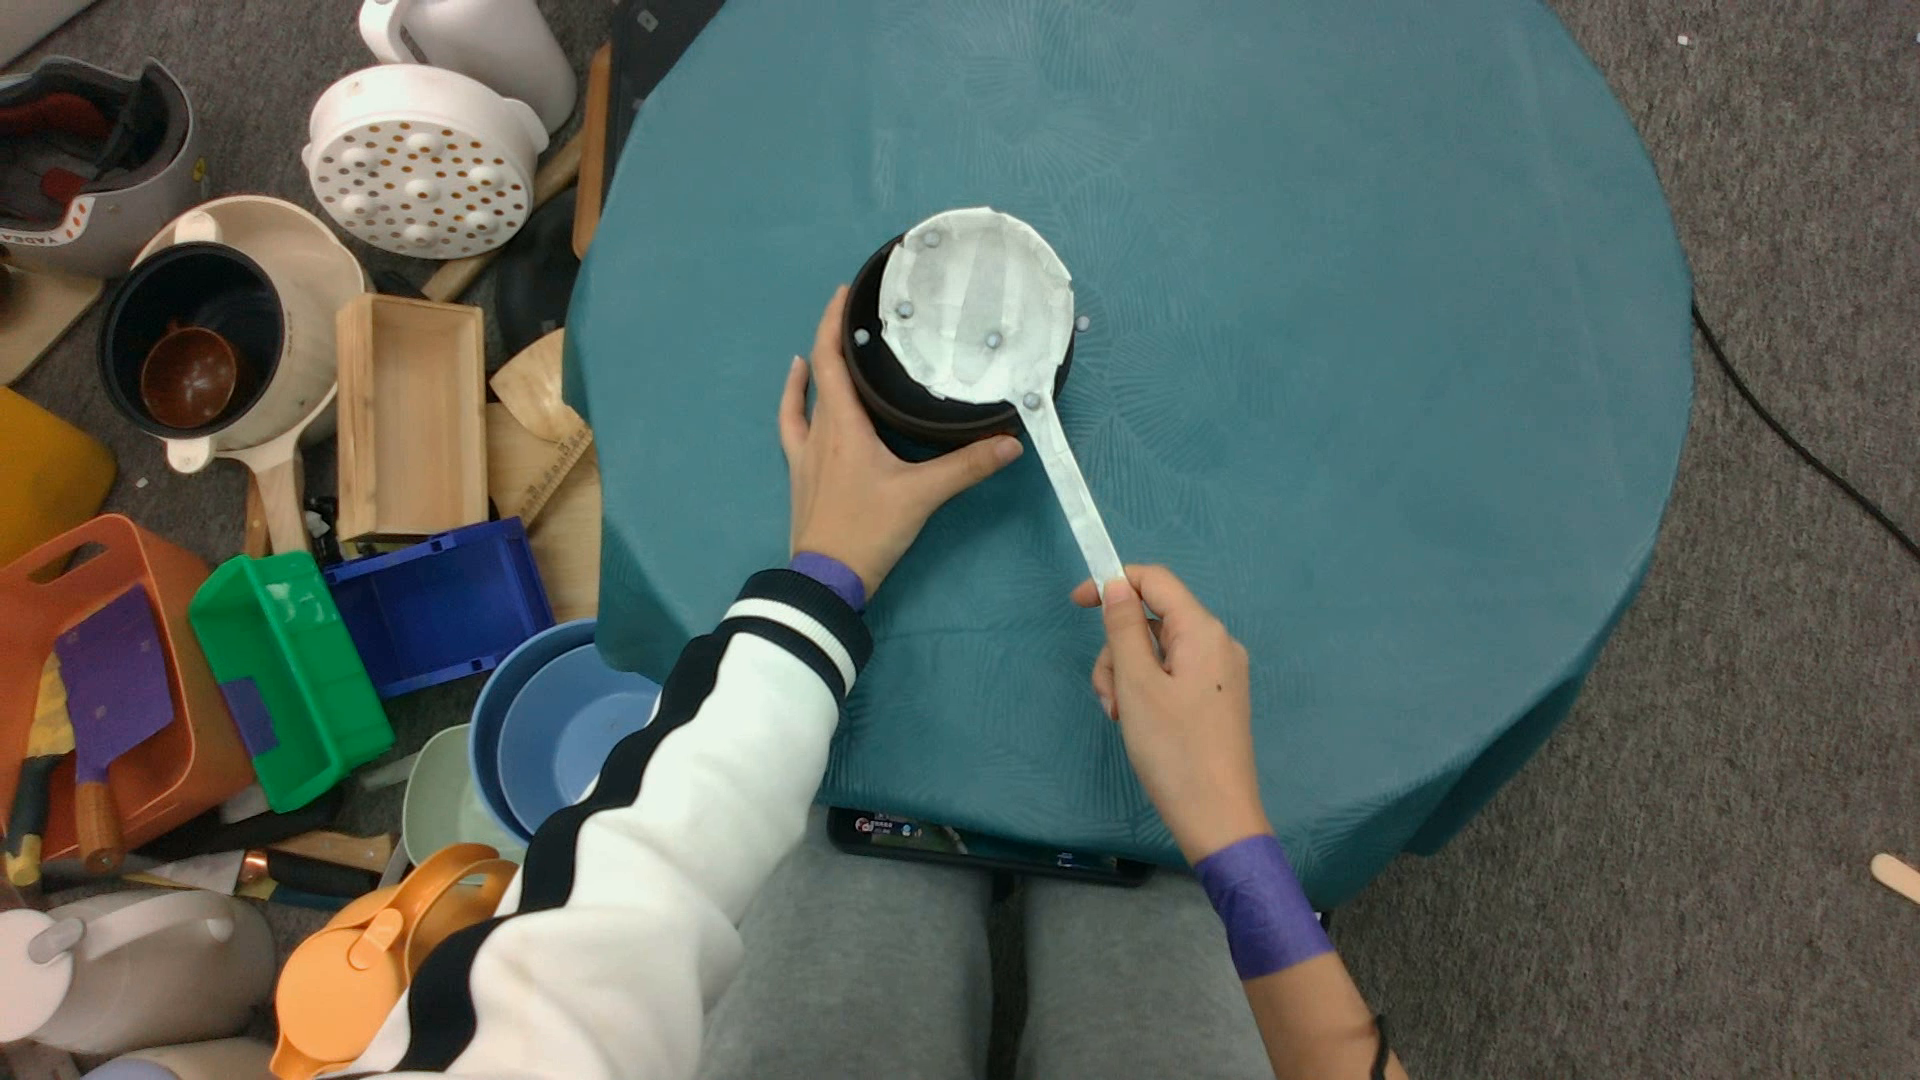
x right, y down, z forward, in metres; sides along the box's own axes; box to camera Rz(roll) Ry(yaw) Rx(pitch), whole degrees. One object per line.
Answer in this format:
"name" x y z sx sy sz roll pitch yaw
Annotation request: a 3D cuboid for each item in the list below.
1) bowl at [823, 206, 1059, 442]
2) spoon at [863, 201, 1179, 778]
"bowl" -0.009 -0.104 0.709 0.118 0.069 0.118 -1 74 2
"spoon" 0.030 -0.021 0.624 0.100 0.059 0.278 -26 74 22
